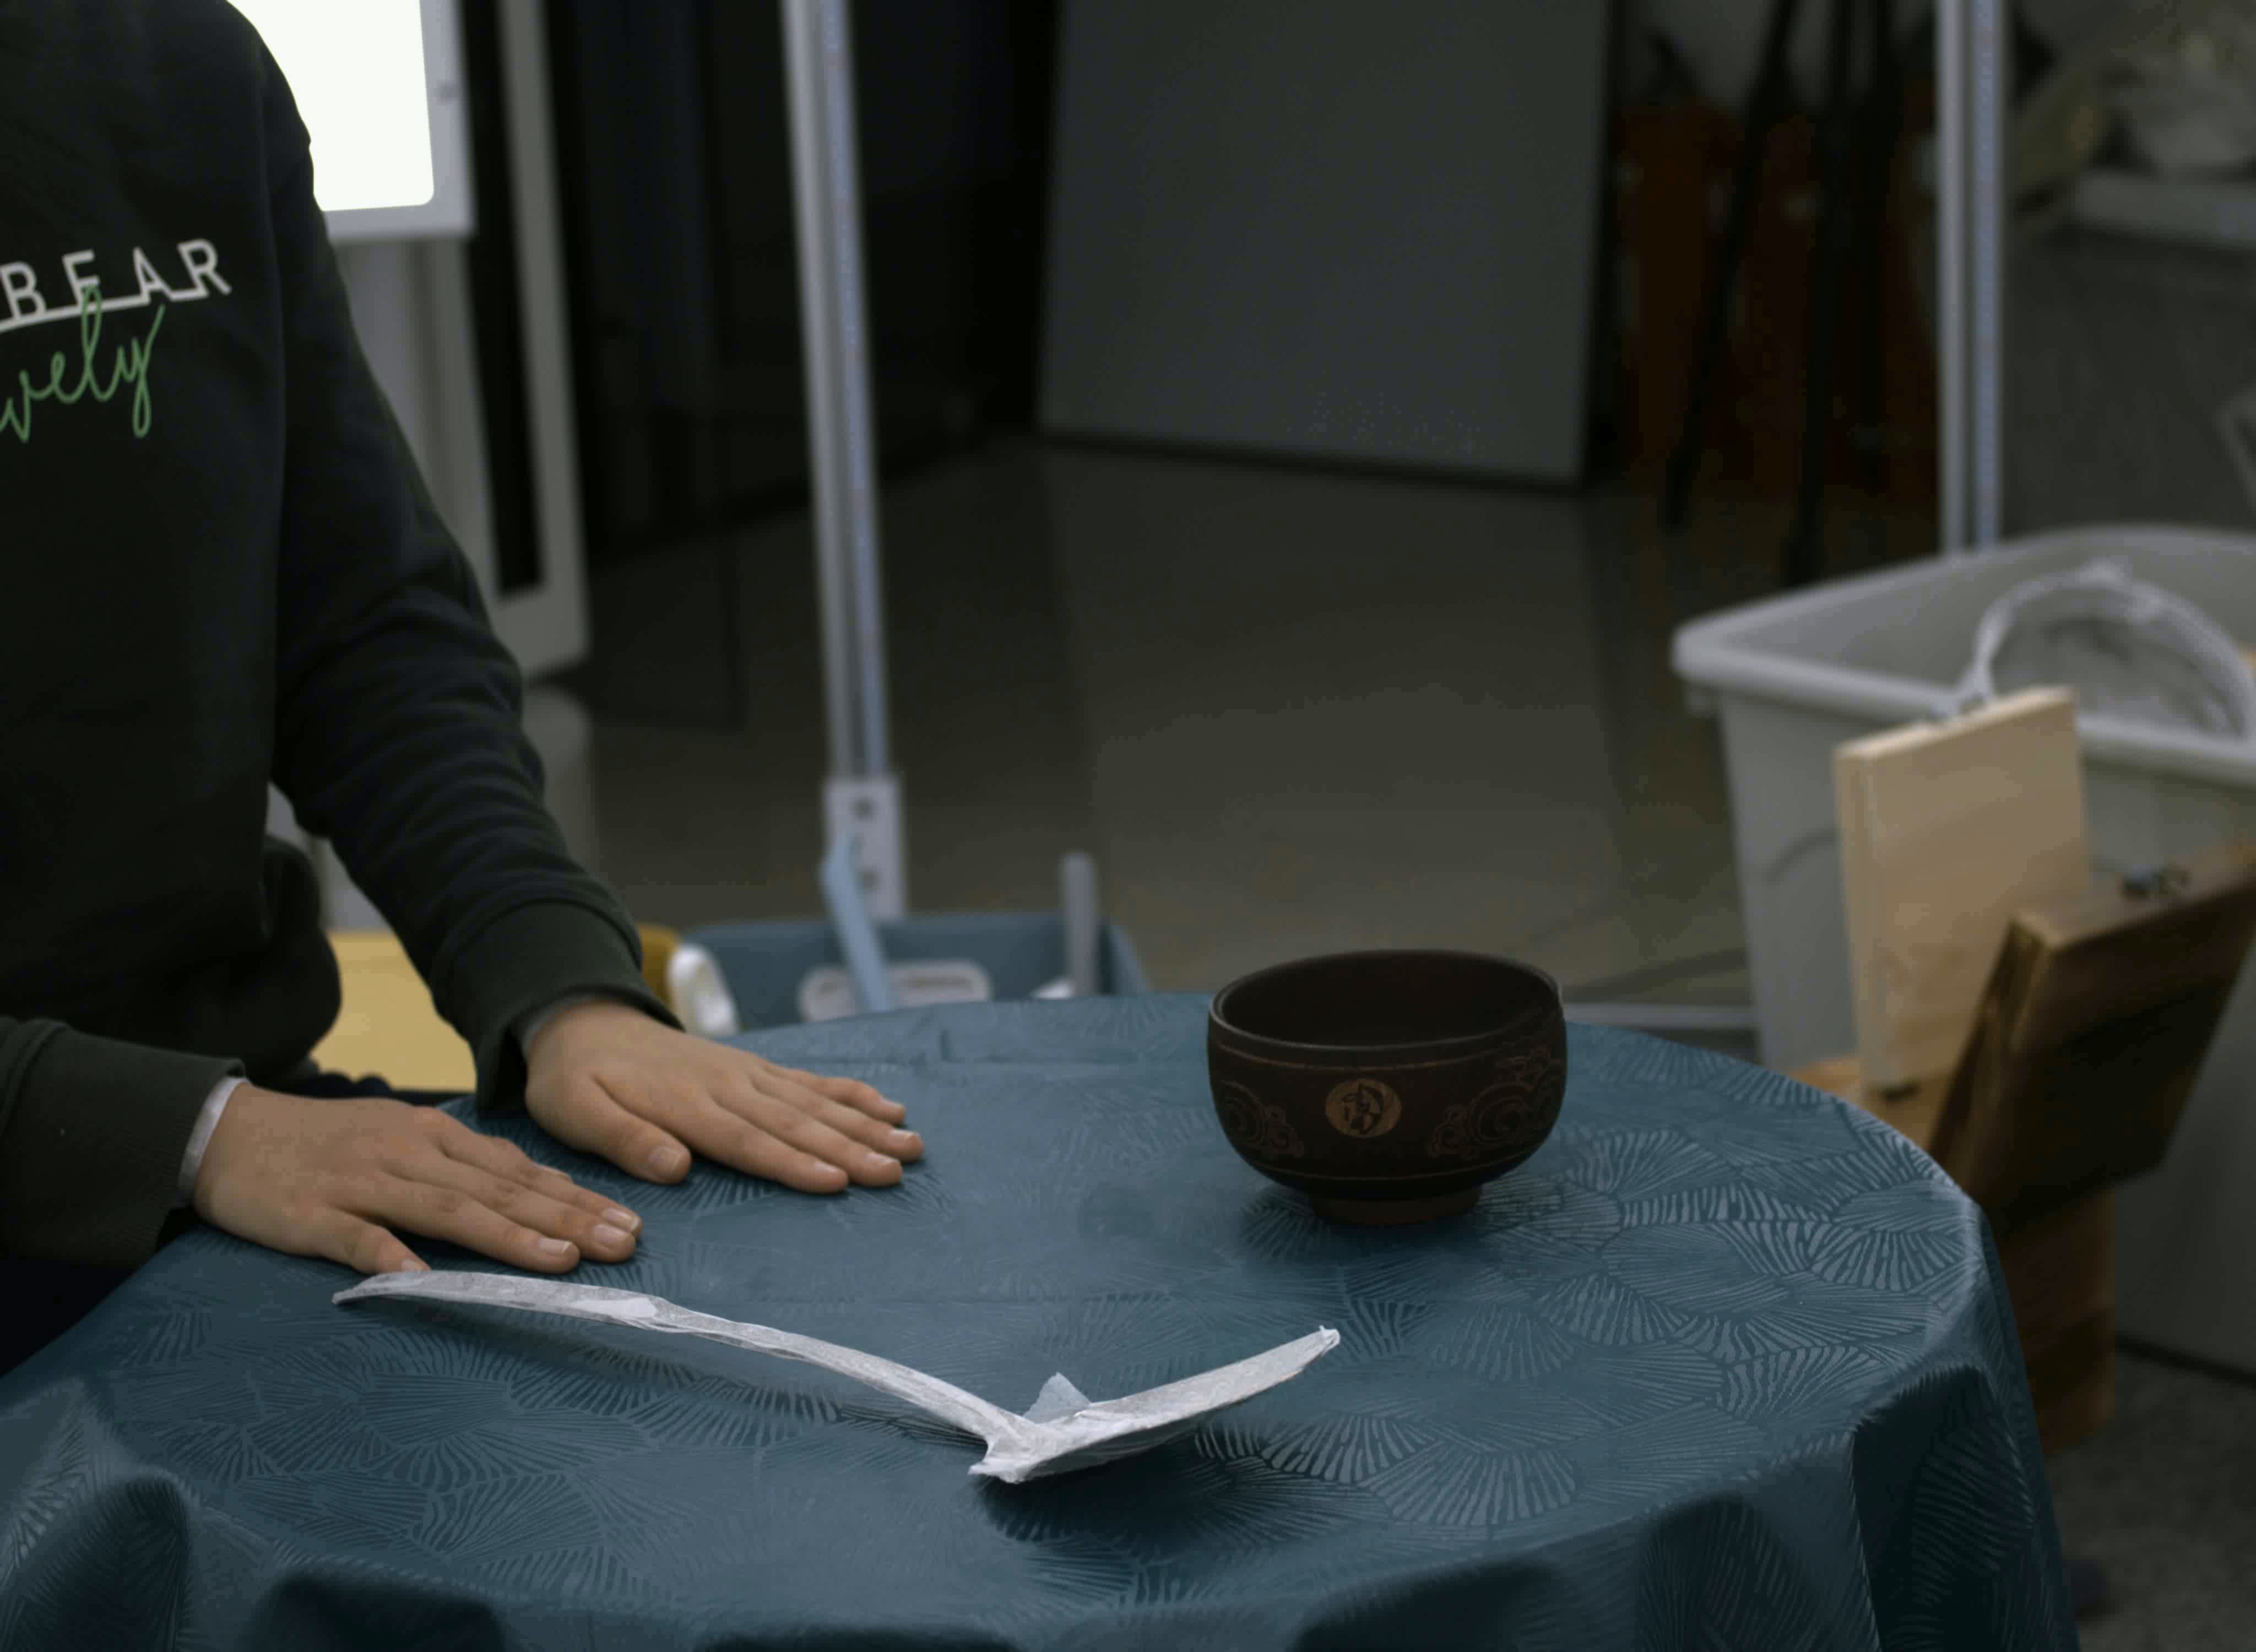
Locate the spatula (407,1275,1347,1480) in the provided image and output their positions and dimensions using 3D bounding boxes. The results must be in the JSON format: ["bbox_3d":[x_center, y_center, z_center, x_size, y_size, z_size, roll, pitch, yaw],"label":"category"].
[{"bbox_3d":[-0.095,0.151,1.598,0.368,0.045,0.097,8,20,40],"label":"spatula"}]

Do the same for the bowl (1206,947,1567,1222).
[{"bbox_3d":[0.084,0.086,1.736,0.116,0.070,0.118,-4,12,0],"label":"bowl"}]
